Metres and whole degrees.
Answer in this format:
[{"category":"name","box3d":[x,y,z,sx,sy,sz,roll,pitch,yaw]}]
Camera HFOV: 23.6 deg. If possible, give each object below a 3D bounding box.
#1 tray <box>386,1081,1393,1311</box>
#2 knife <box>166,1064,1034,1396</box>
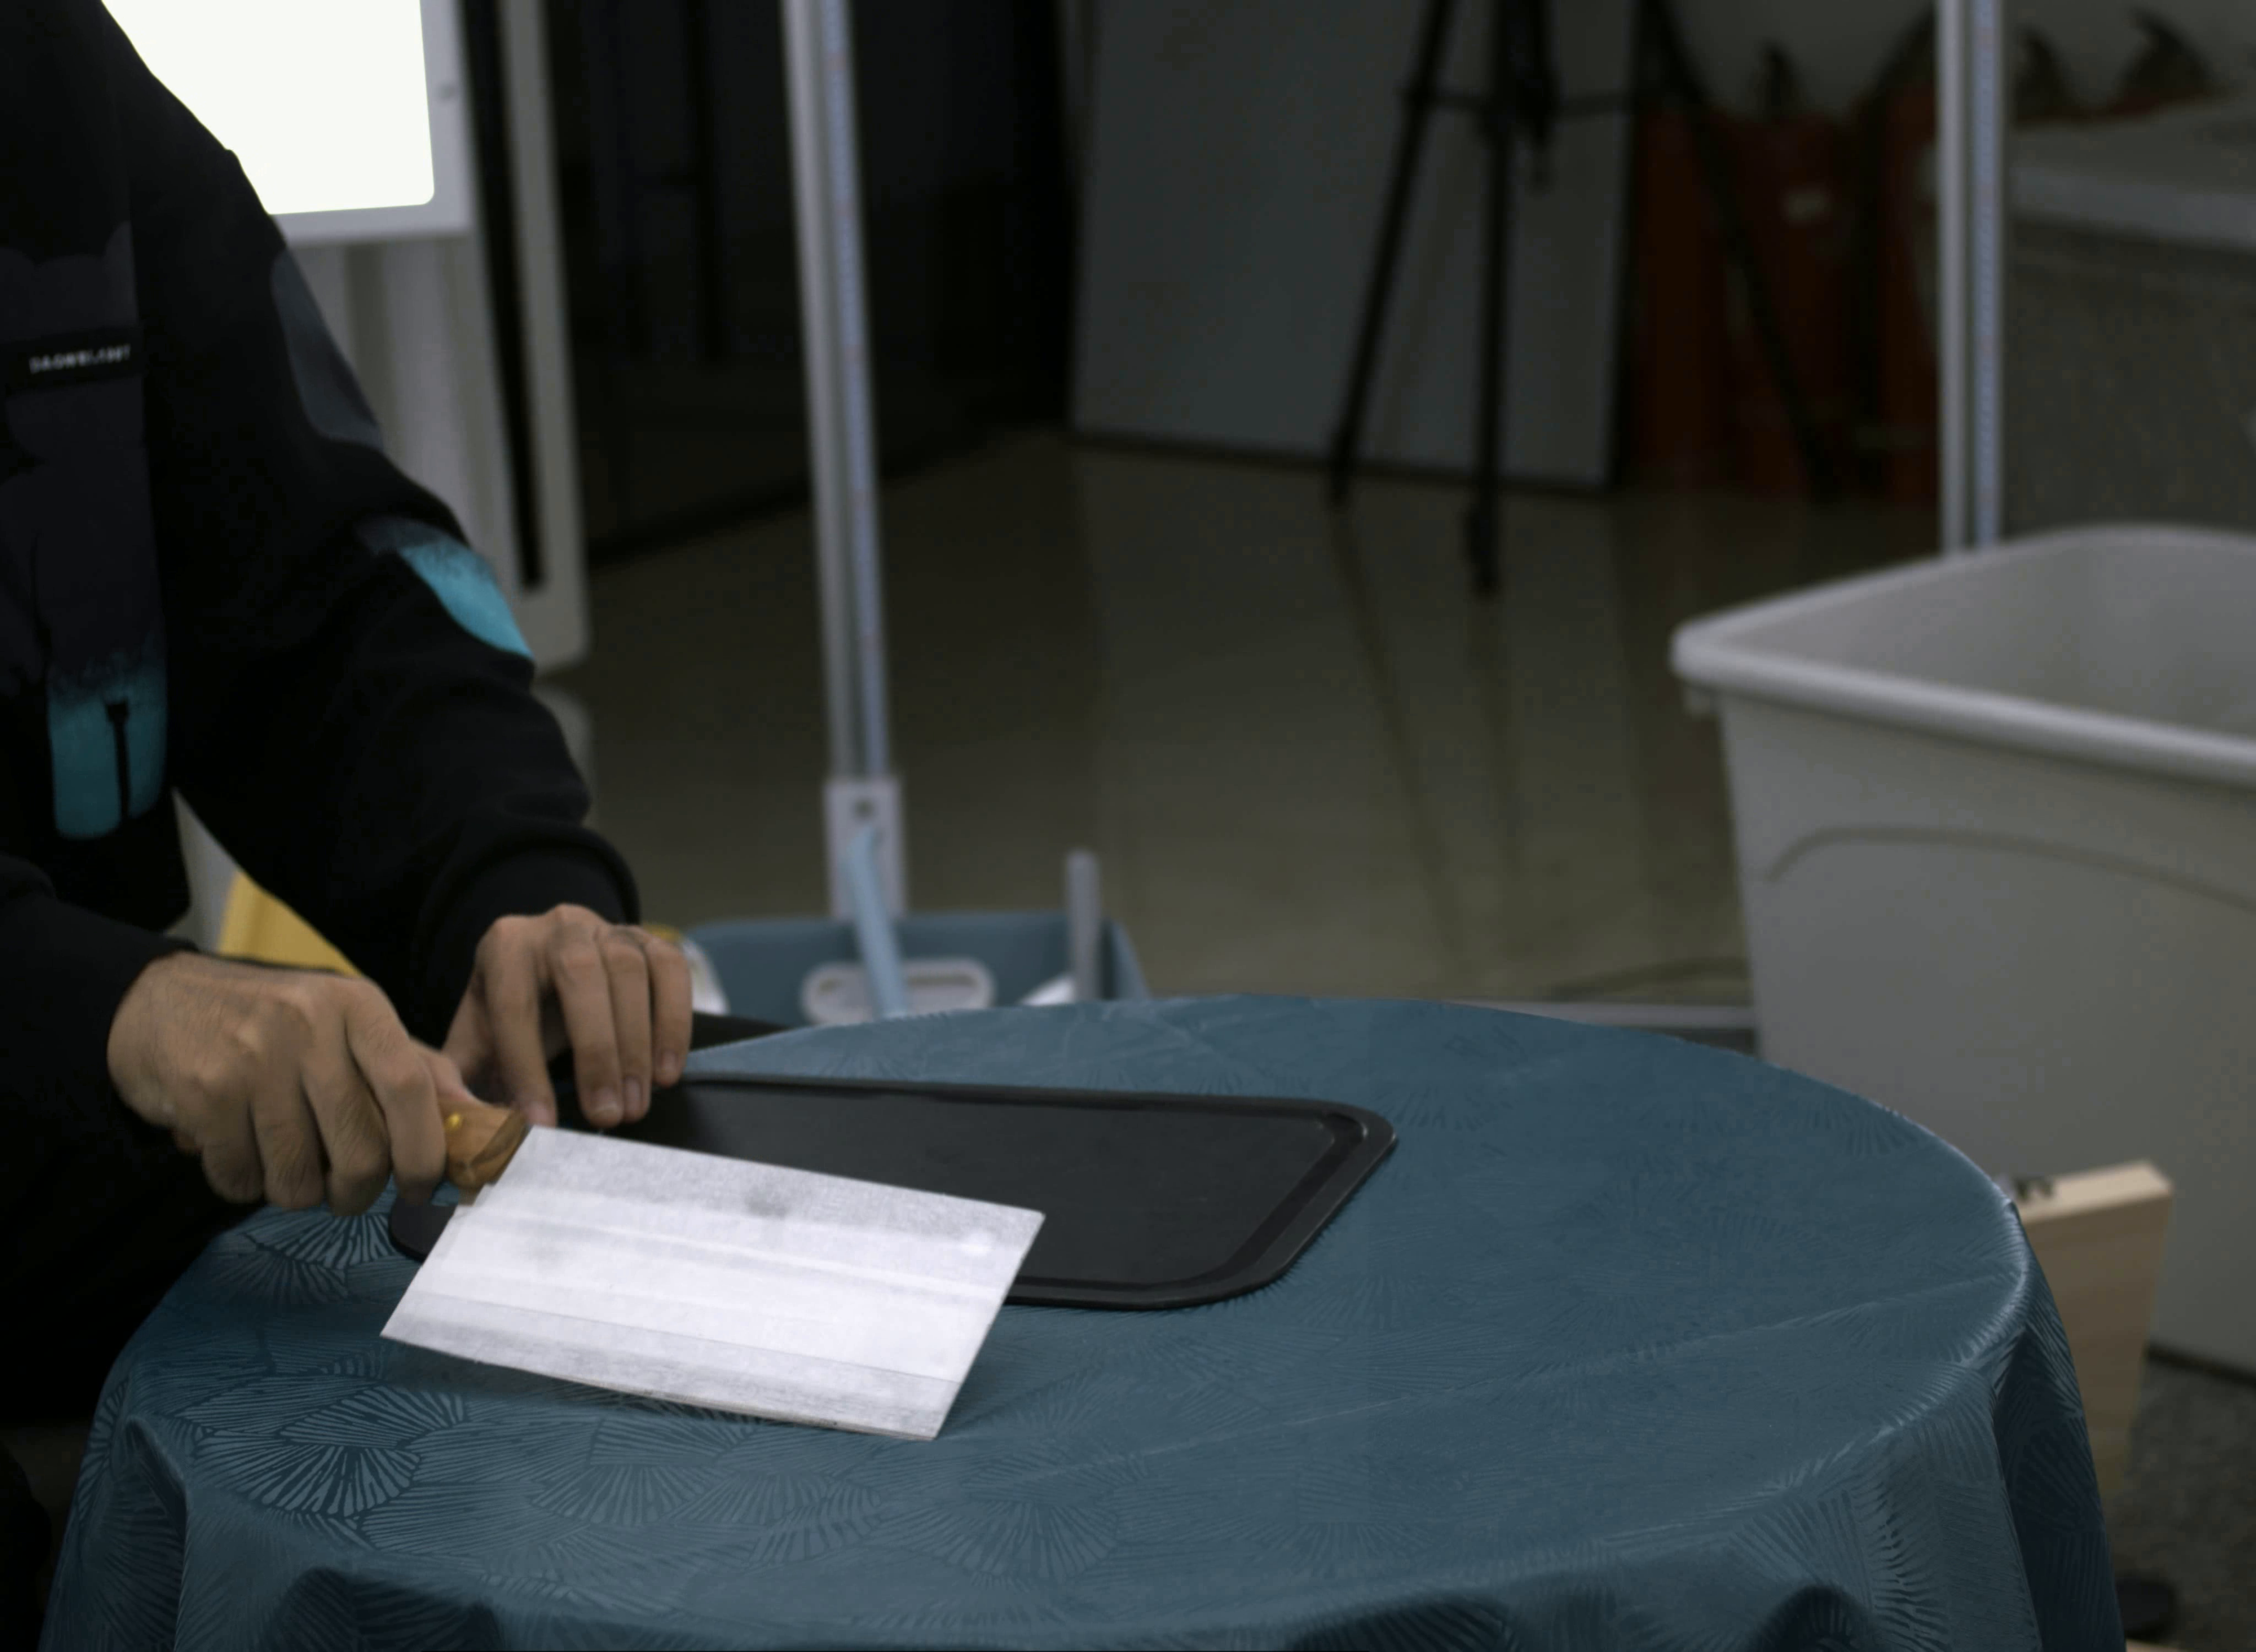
[{"category":"tray","box3d":[-0.084,0.119,1.791,0.325,0.010,0.209,1,15,21]},{"category":"knife","box3d":[-0.175,0.125,1.652,0.306,0.021,0.093,7,51,26]}]
